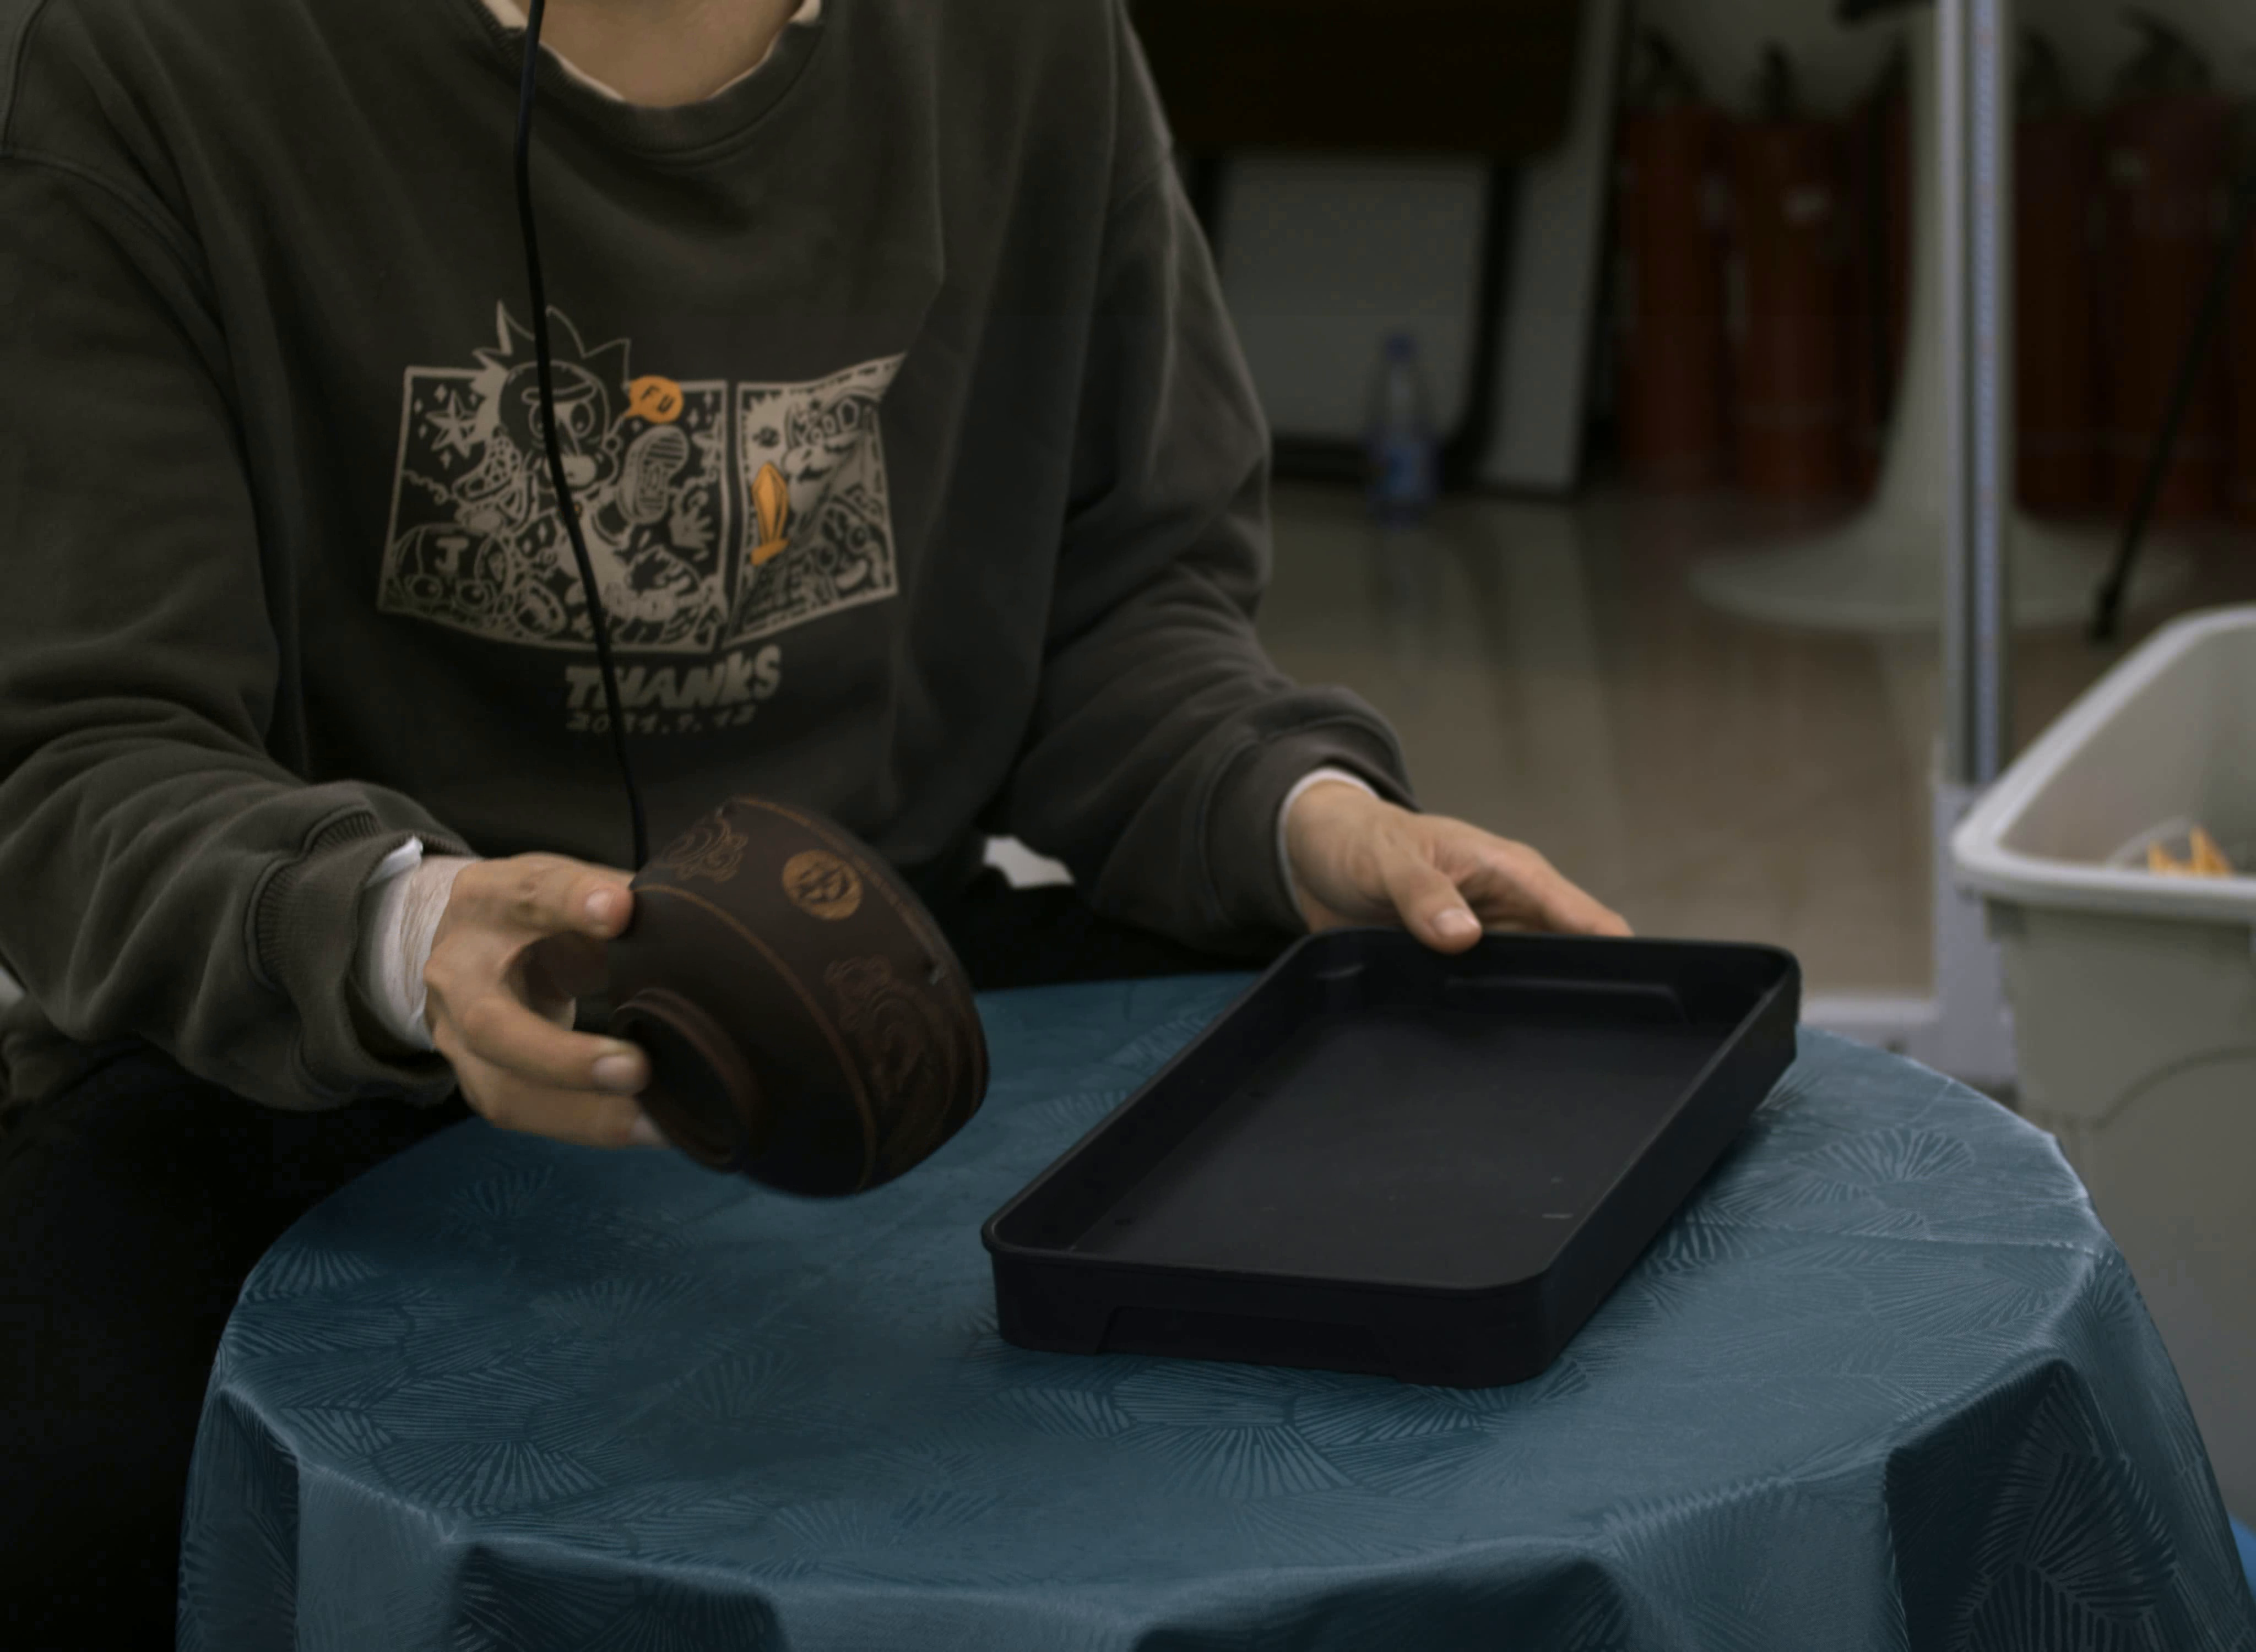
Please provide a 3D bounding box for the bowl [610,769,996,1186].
[{"bbox_3d":[-0.101,0.051,1.529,0.119,0.118,0.069,11,40,47],"label":"bowl"}]

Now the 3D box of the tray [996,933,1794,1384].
[{"bbox_3d":[0.094,0.100,1.732,0.184,0.037,0.315,0,17,22],"label":"tray"}]
